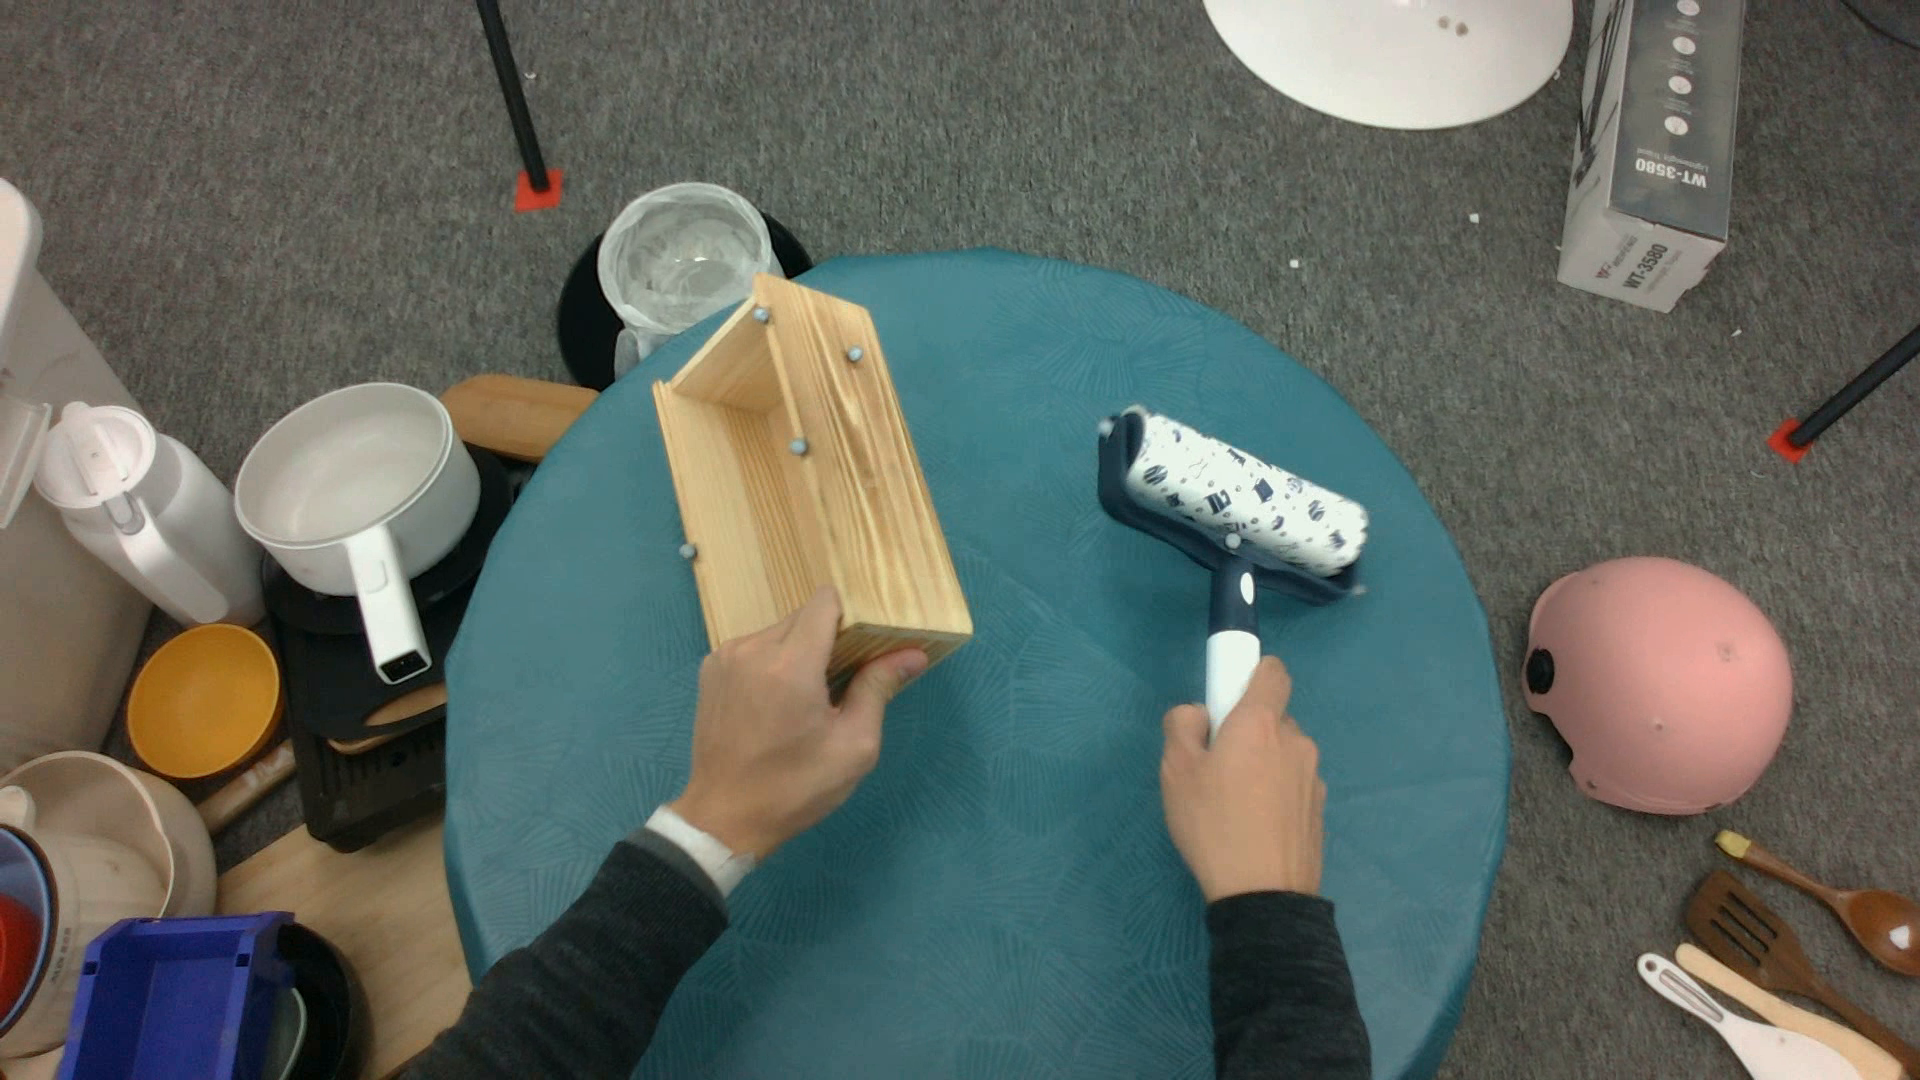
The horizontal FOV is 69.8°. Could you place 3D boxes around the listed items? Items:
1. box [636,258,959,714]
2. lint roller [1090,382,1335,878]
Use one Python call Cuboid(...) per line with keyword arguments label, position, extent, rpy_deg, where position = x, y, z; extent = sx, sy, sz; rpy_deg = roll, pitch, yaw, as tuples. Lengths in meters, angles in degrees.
Cuboid(label="box", position=(-0.091, -0.027, 0.722), extent=(0.080, 0.107, 0.212), rpy_deg=(9, 52, -44))
Cuboid(label="lint roller", position=(0.140, 0.052, 0.724), extent=(0.176, 0.050, 0.248), rpy_deg=(25, 54, -34))
